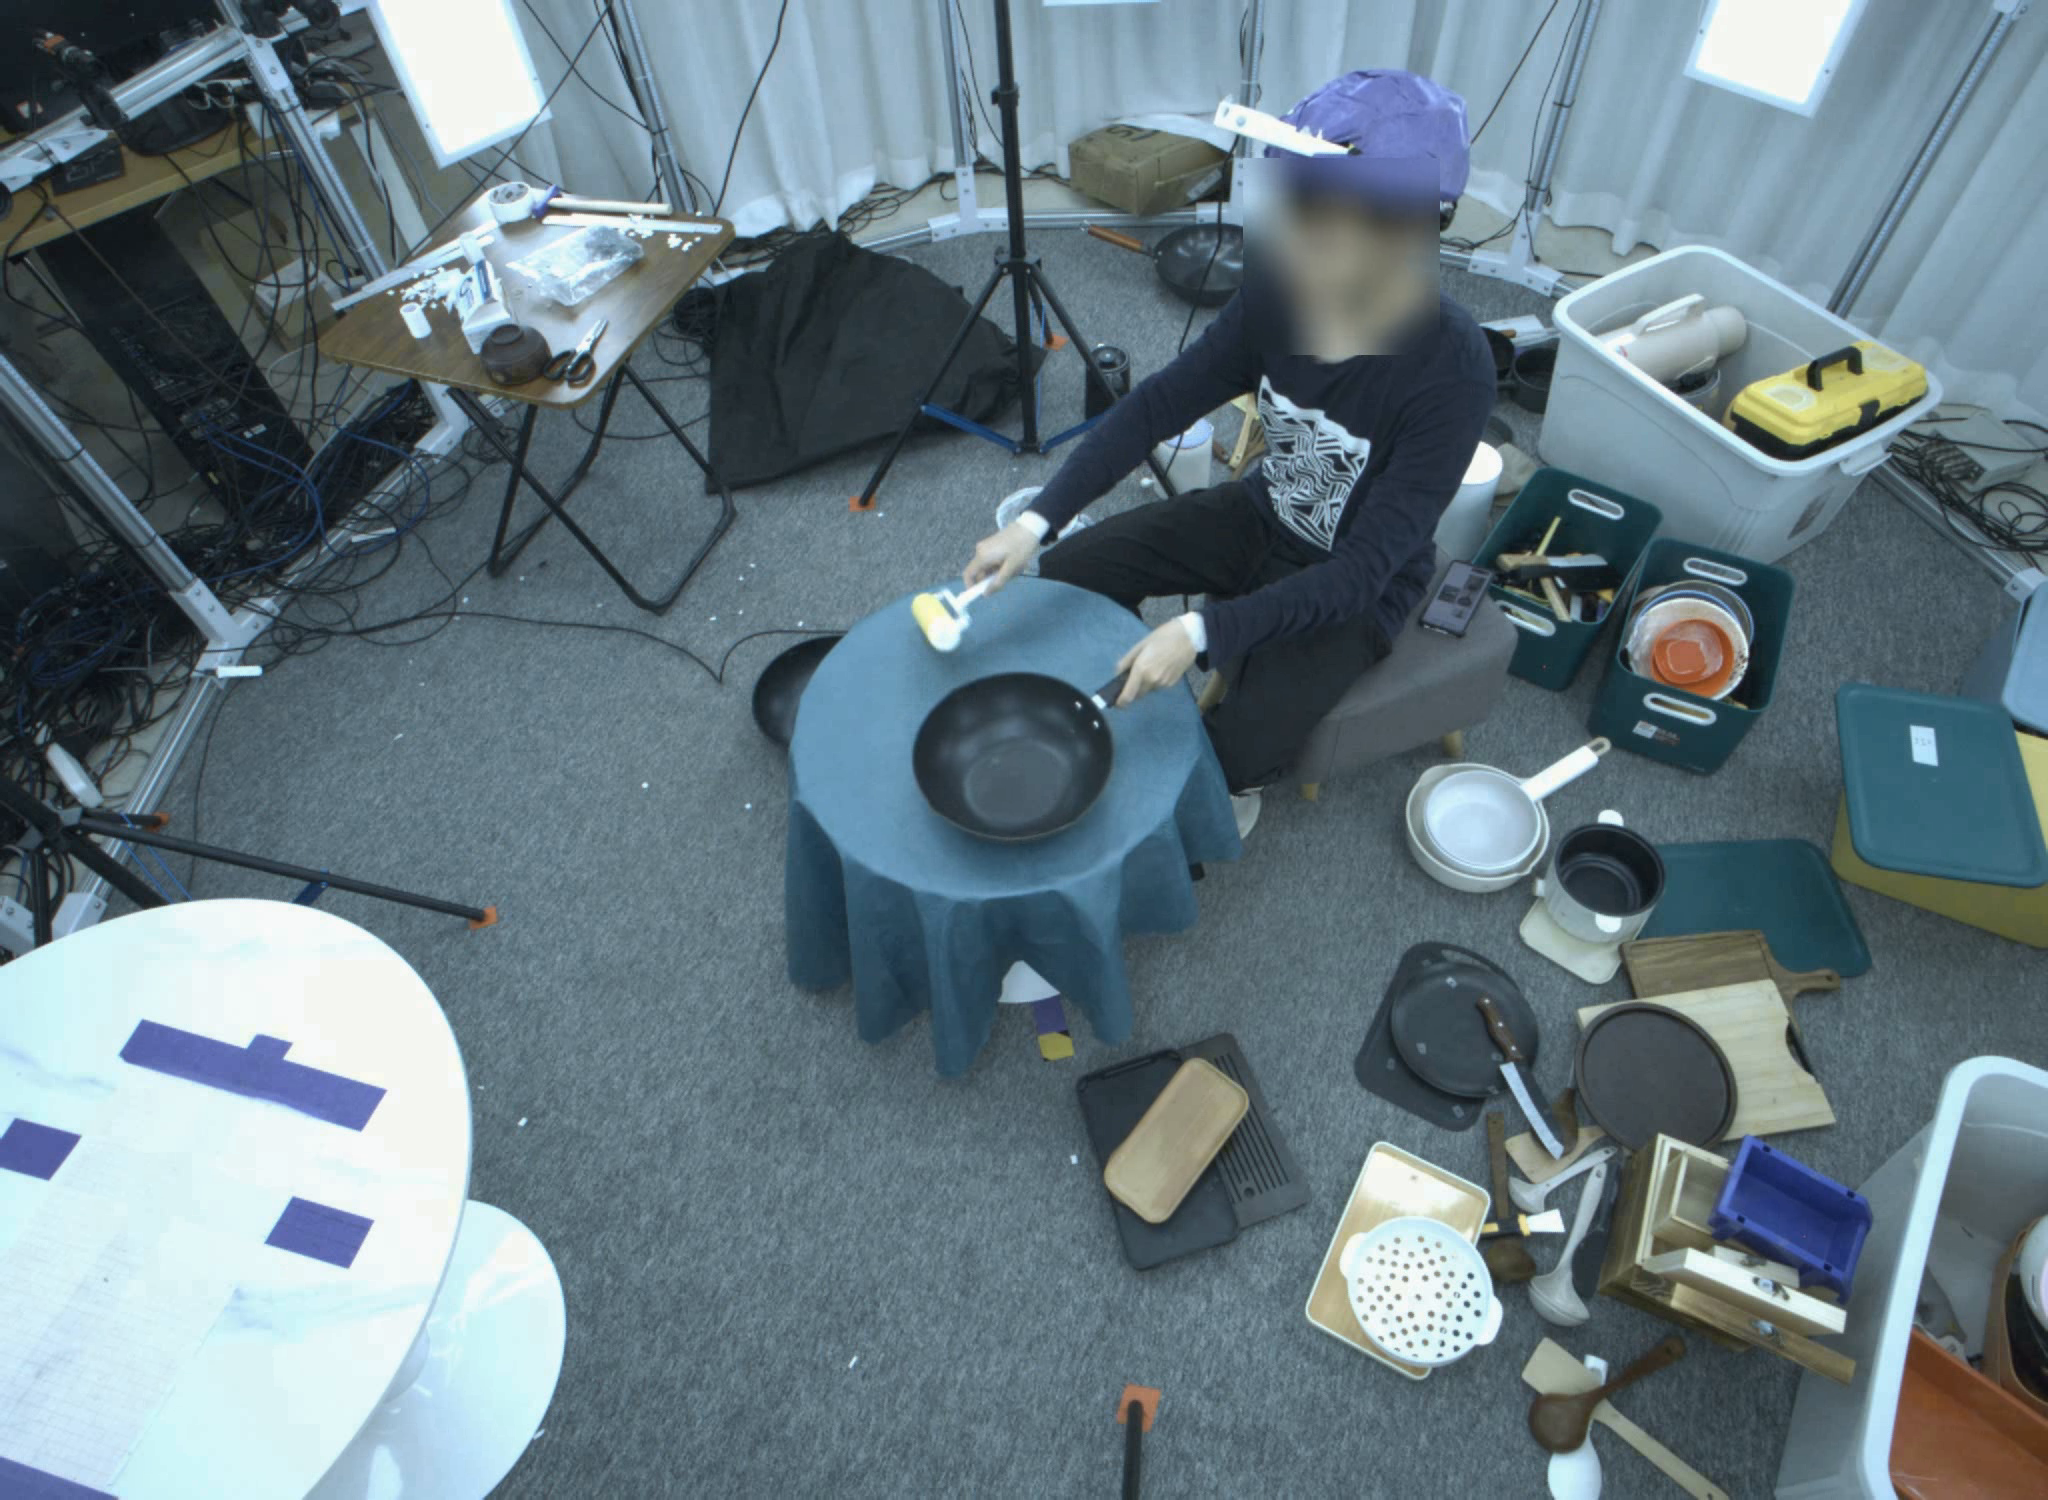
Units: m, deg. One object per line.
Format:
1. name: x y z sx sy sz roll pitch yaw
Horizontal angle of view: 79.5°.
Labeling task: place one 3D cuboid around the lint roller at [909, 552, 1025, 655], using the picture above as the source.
1. lint roller: -0.082 -0.241 1.852 0.192 0.052 0.171 -45 30 3

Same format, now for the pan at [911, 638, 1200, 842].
1. pan: 0.060 -0.026 1.756 0.467 0.088 0.283 -32 61 -18
